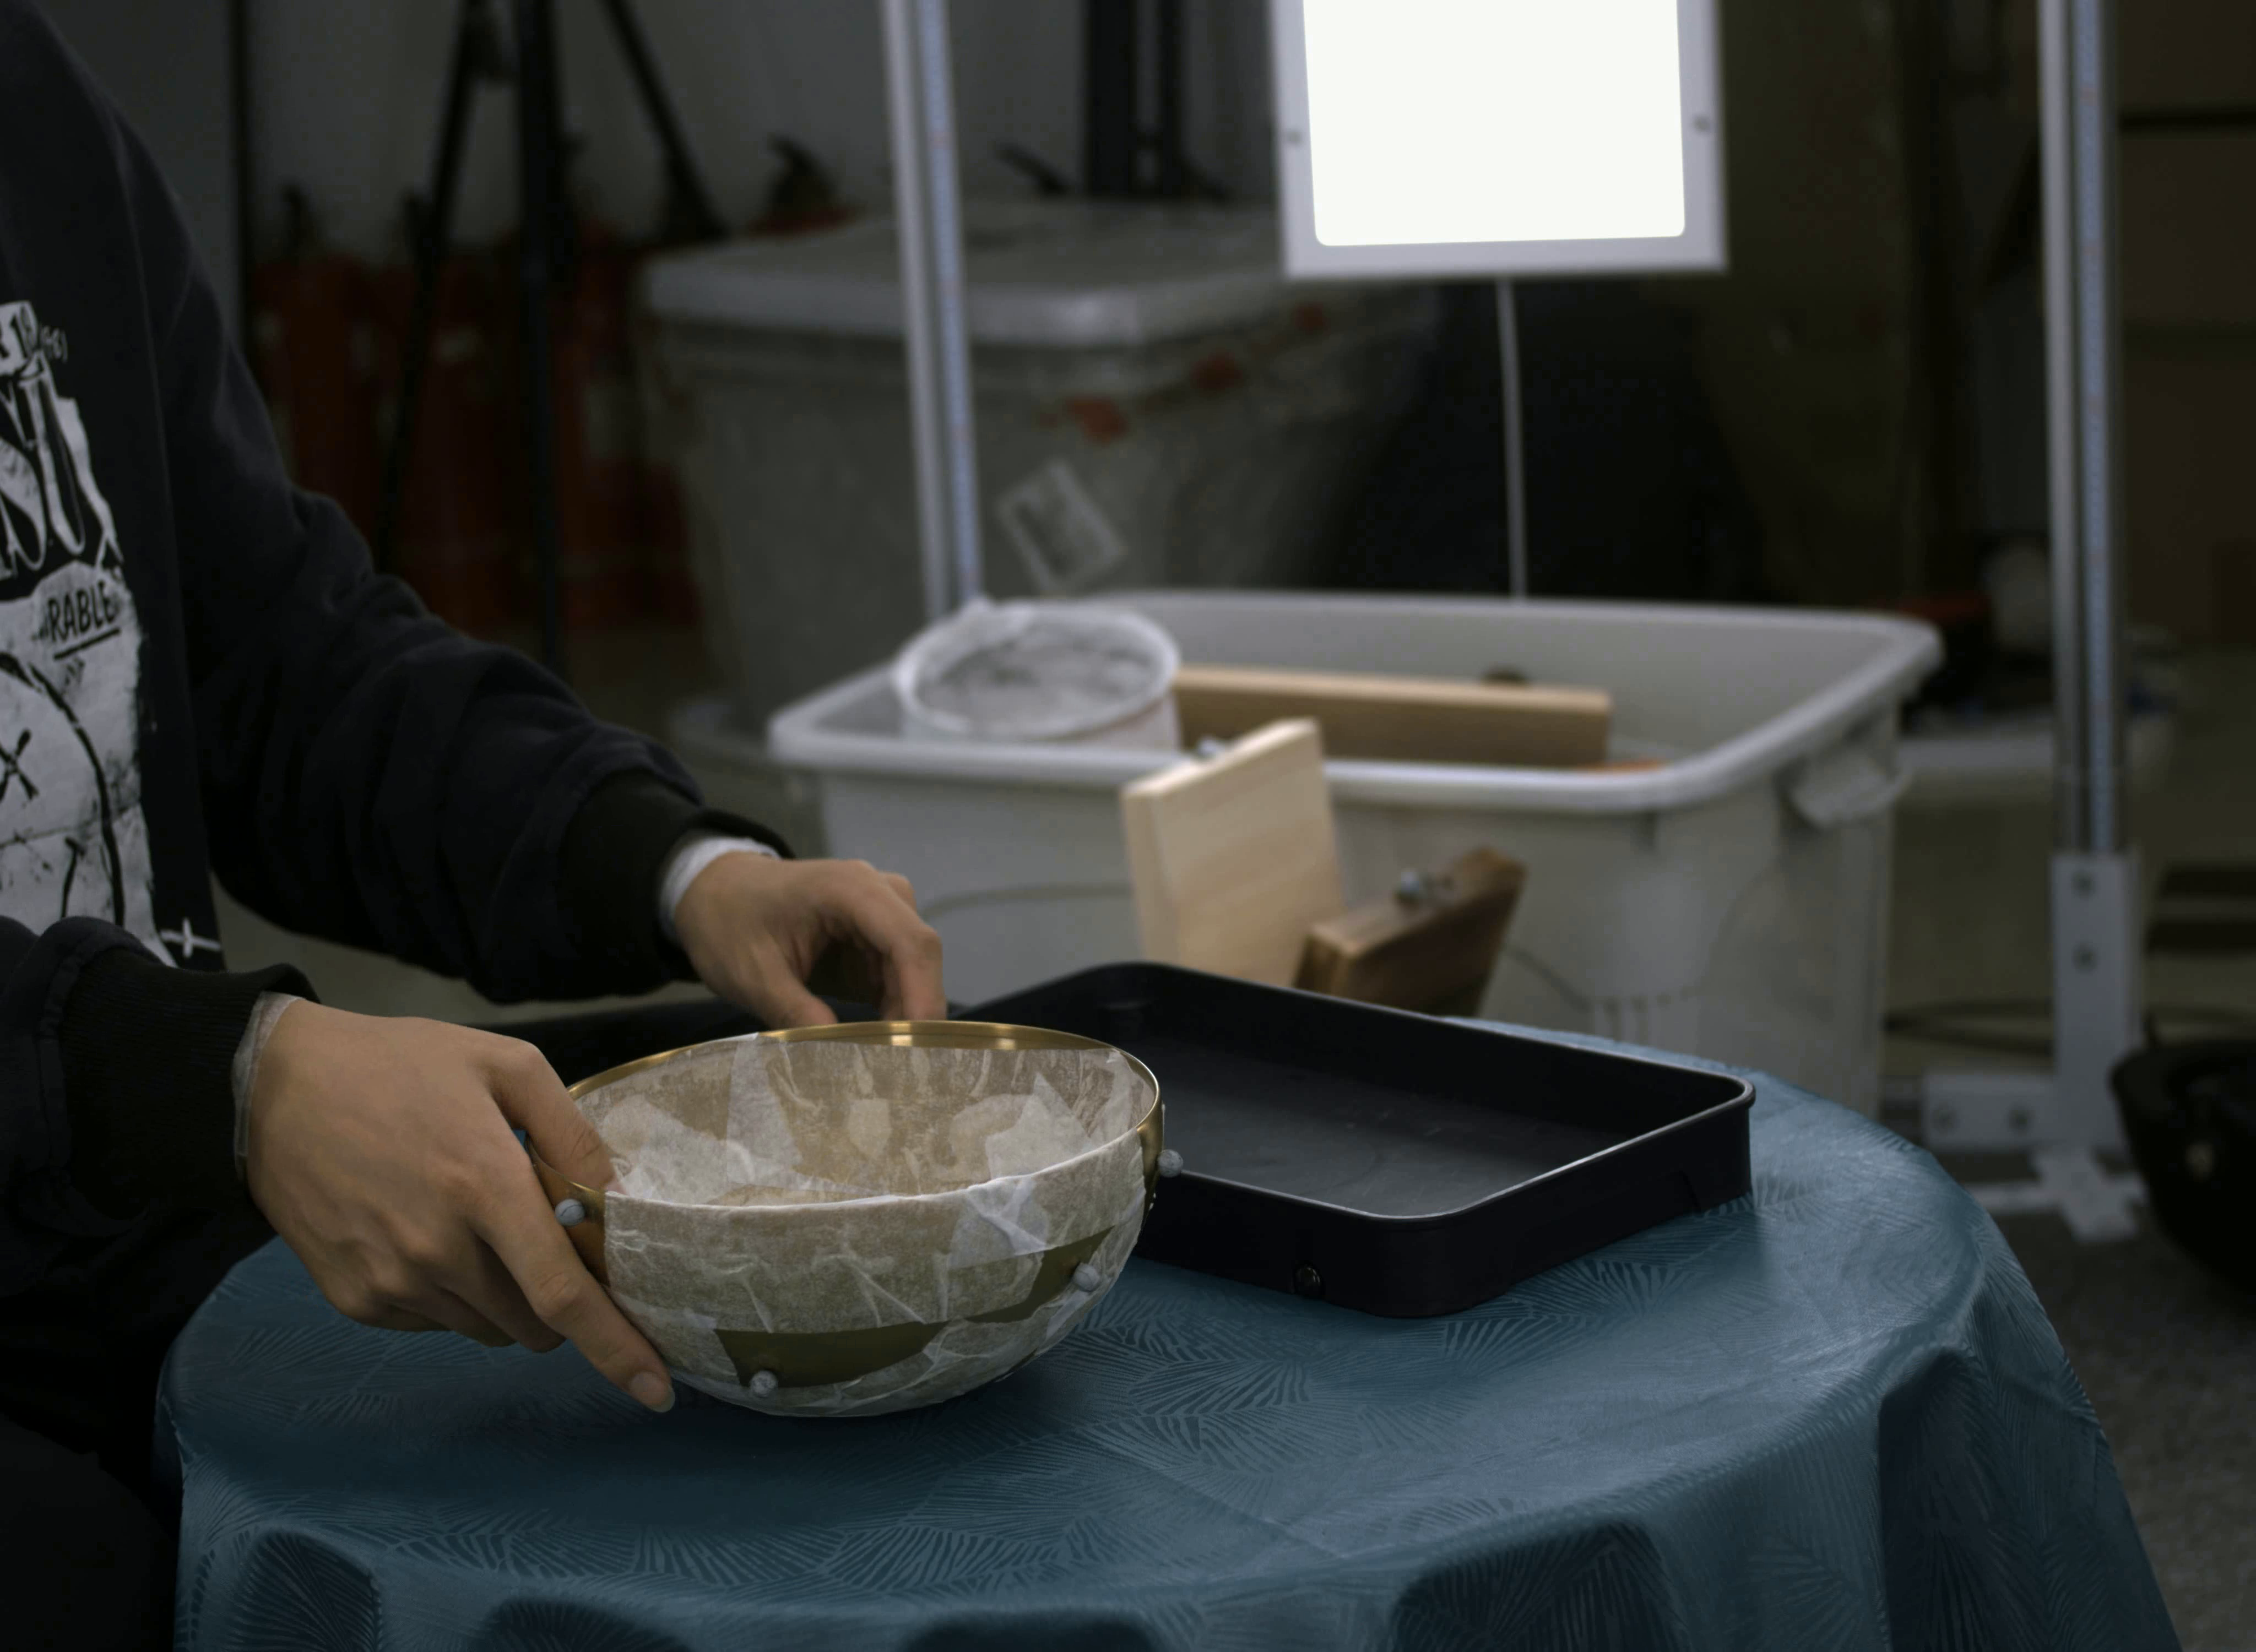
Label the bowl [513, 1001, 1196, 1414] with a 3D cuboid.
[{"bbox_3d":[-0.084,0.128,1.724,0.214,0.095,0.214,-5,15,0],"label":"bowl"}]

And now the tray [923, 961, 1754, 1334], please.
[{"bbox_3d":[0.046,0.106,1.900,0.179,0.037,0.325,-15,18,-40],"label":"tray"}]
